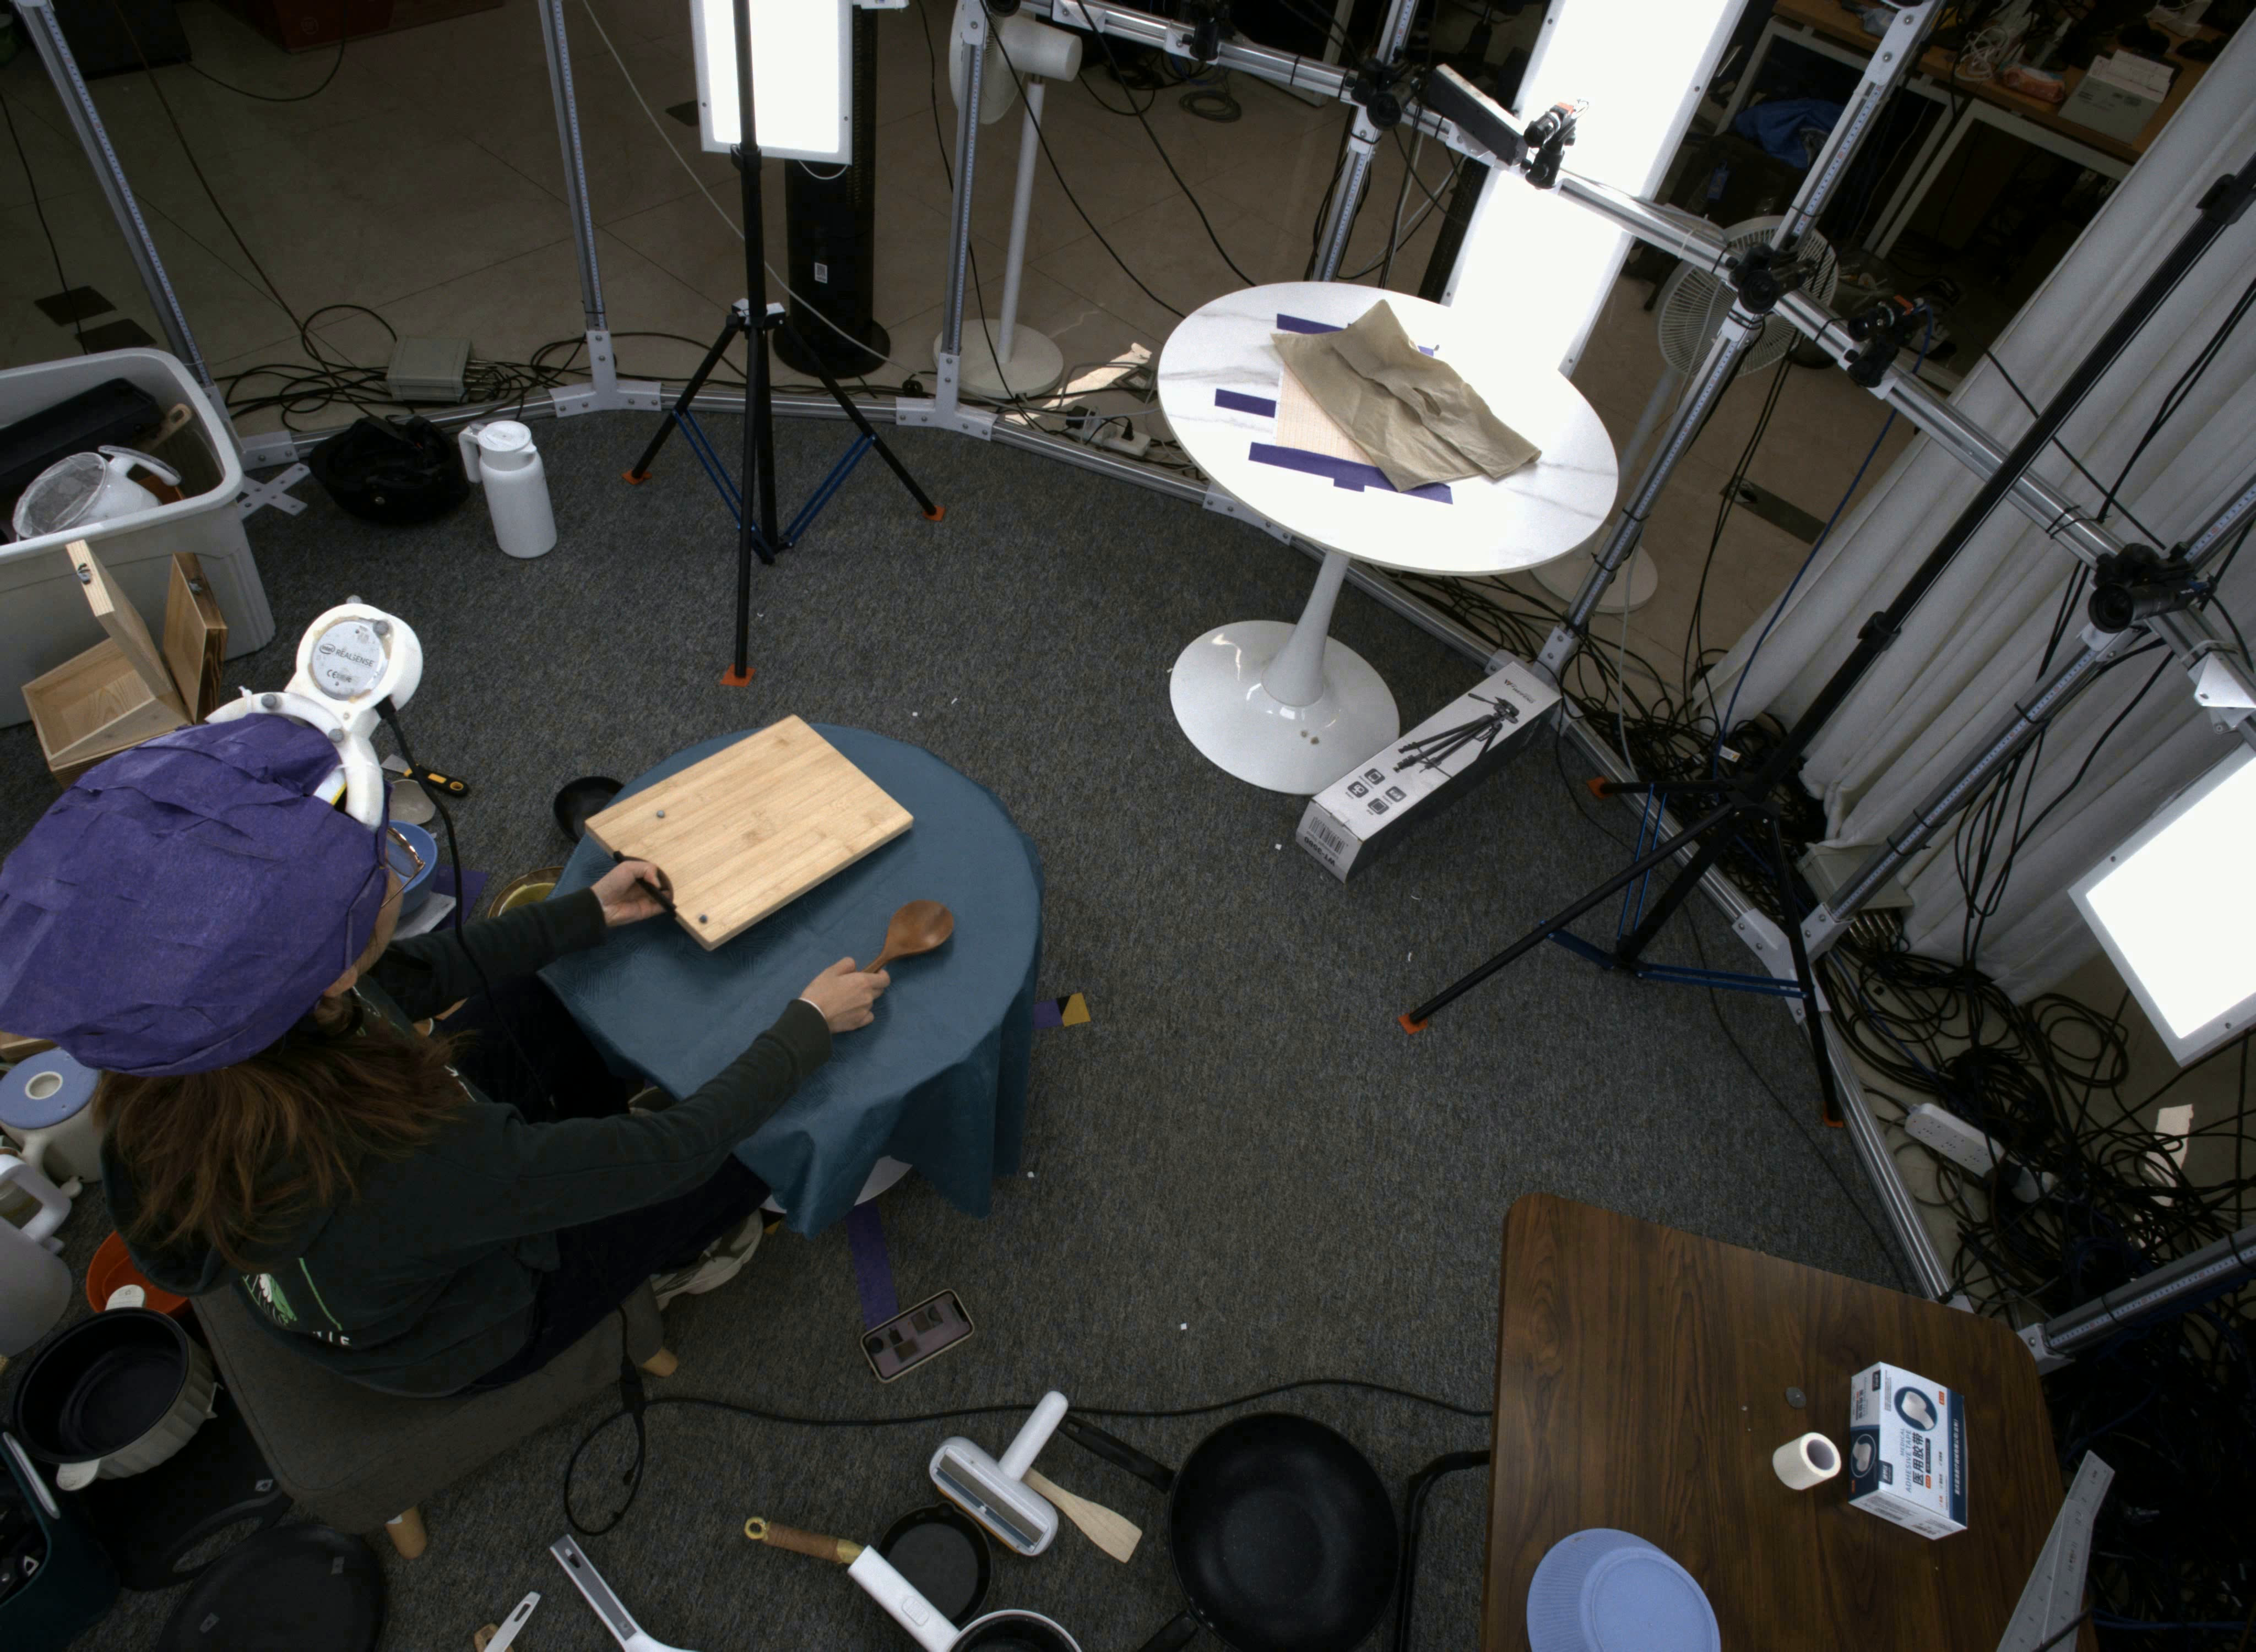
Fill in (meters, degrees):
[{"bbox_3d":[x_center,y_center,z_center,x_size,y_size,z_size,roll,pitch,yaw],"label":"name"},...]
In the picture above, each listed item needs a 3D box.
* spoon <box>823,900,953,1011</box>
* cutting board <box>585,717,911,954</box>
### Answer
[{"bbox_3d":[-0.298,0.158,1.606,0.074,0.017,0.216,37,44,11],"label":"spoon"},{"bbox_3d":[-0.483,-0.001,1.662,0.245,0.024,0.349,39,45,15],"label":"cutting board"}]
